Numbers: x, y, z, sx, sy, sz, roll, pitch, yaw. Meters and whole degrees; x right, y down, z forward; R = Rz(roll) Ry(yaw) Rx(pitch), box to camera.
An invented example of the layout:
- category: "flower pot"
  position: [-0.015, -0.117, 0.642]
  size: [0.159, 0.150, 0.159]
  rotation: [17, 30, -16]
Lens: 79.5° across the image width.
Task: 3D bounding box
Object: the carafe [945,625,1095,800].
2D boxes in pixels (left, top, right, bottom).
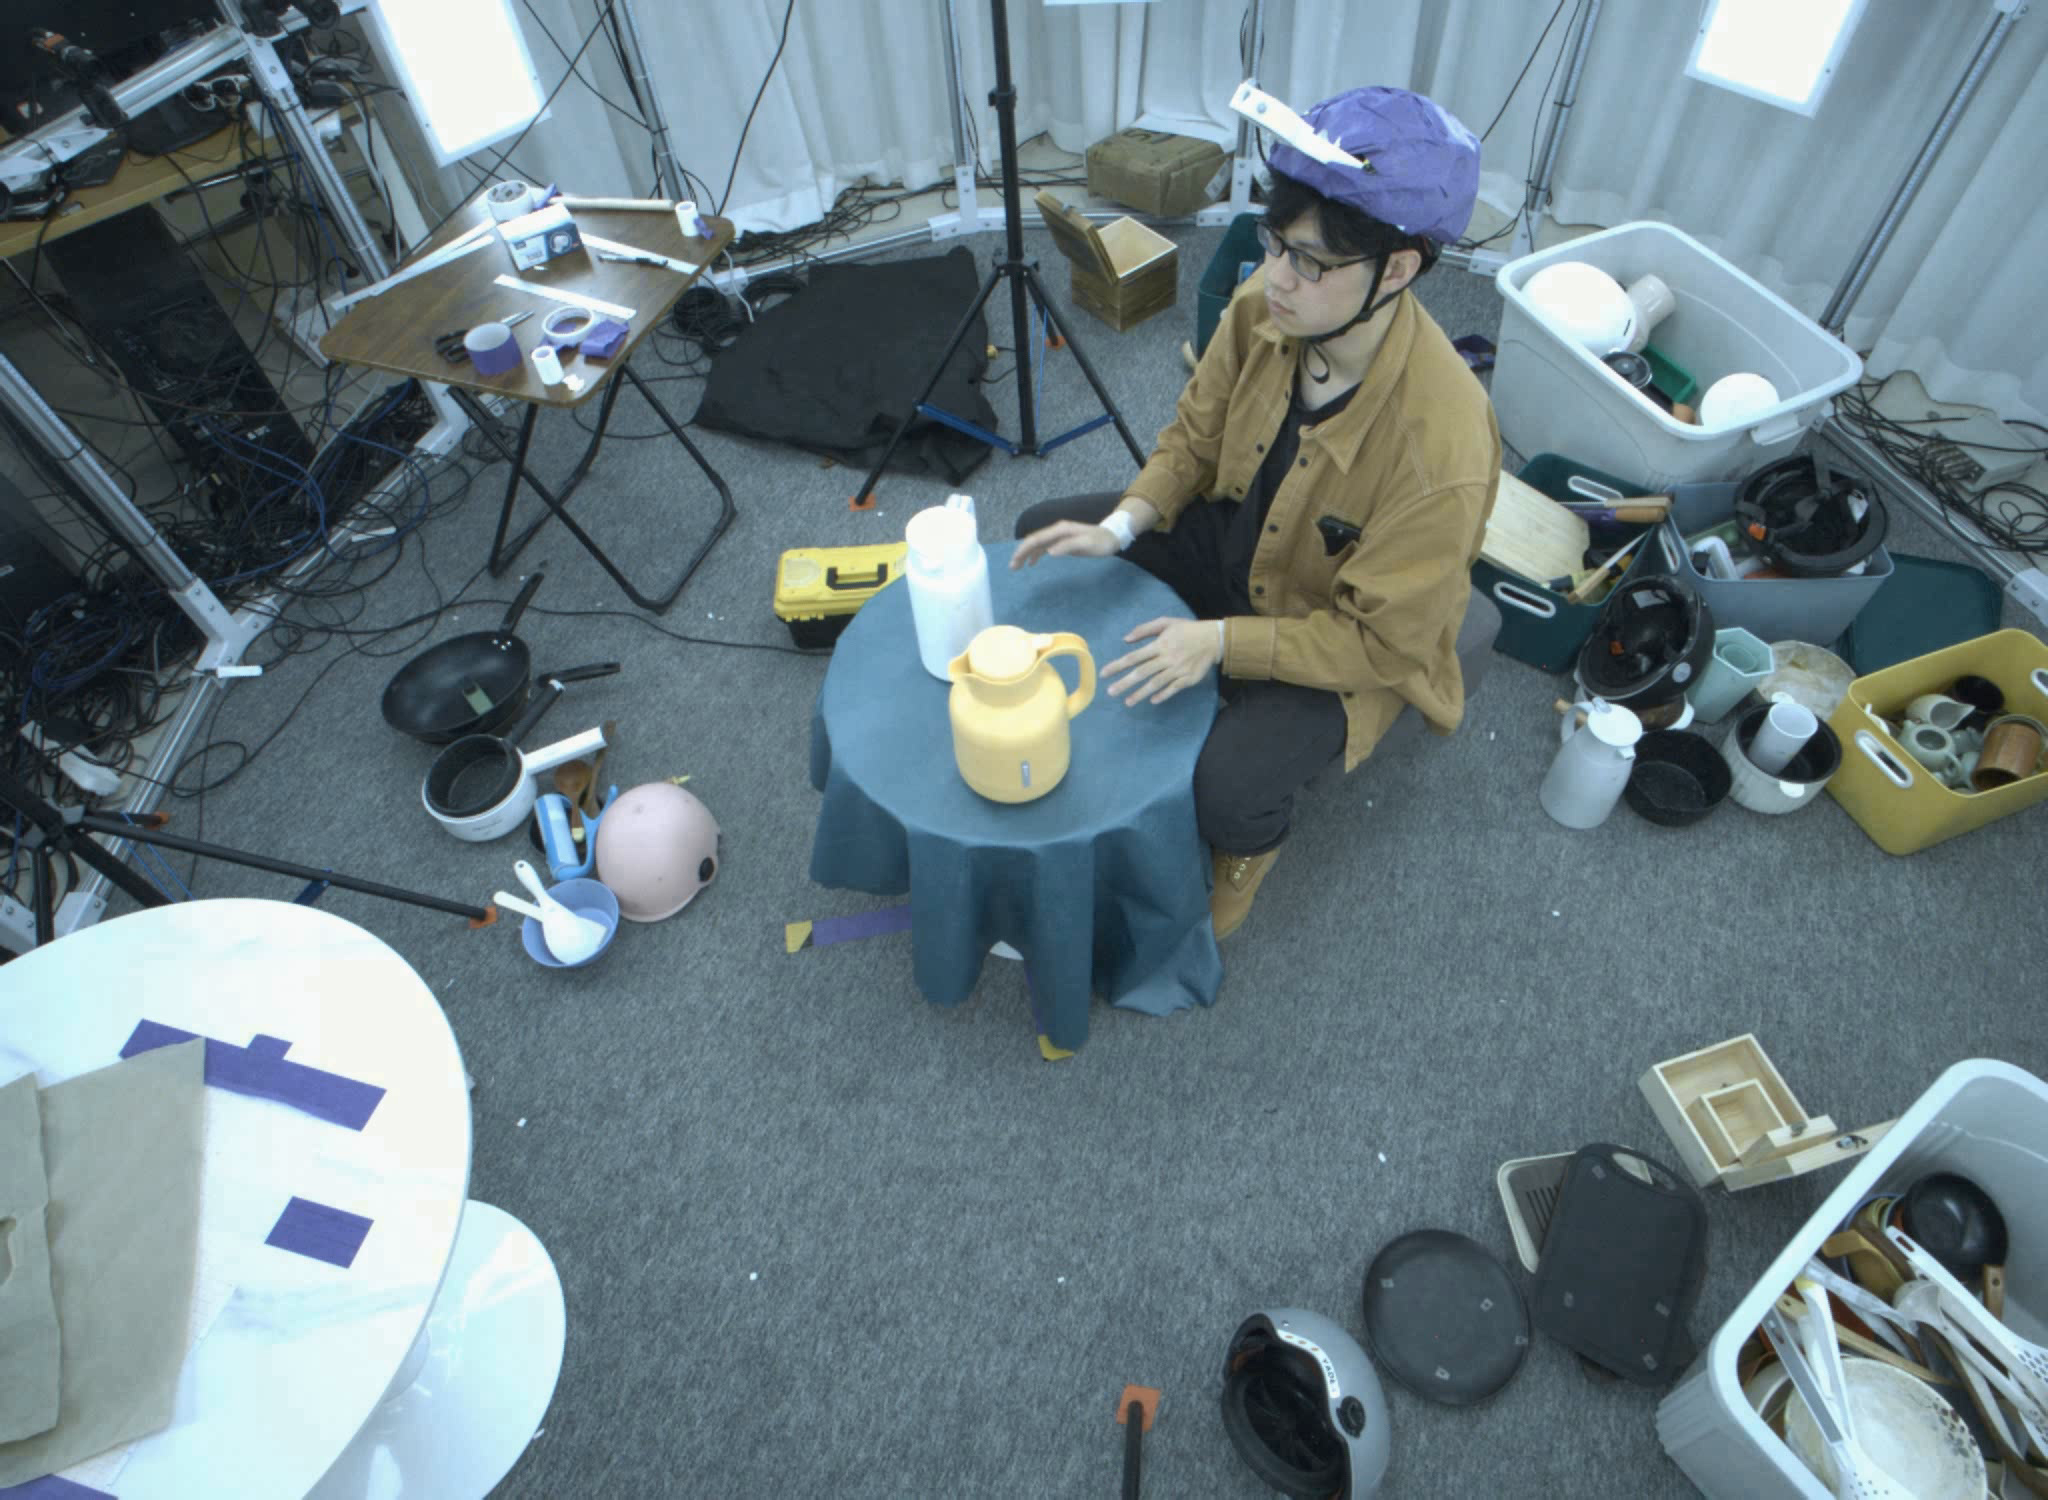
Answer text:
- category: "carafe"
  position: [-0.002, -0.060, 1.663]
  size: [0.203, 0.263, 0.161]
  rotation: [-15, 58, -5]

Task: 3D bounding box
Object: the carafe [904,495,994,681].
- category: "carafe"
  position: [-0.106, -0.239, 1.792]
  size: [0.123, 0.272, 0.172]
  rotation: [8, 55, 11]
